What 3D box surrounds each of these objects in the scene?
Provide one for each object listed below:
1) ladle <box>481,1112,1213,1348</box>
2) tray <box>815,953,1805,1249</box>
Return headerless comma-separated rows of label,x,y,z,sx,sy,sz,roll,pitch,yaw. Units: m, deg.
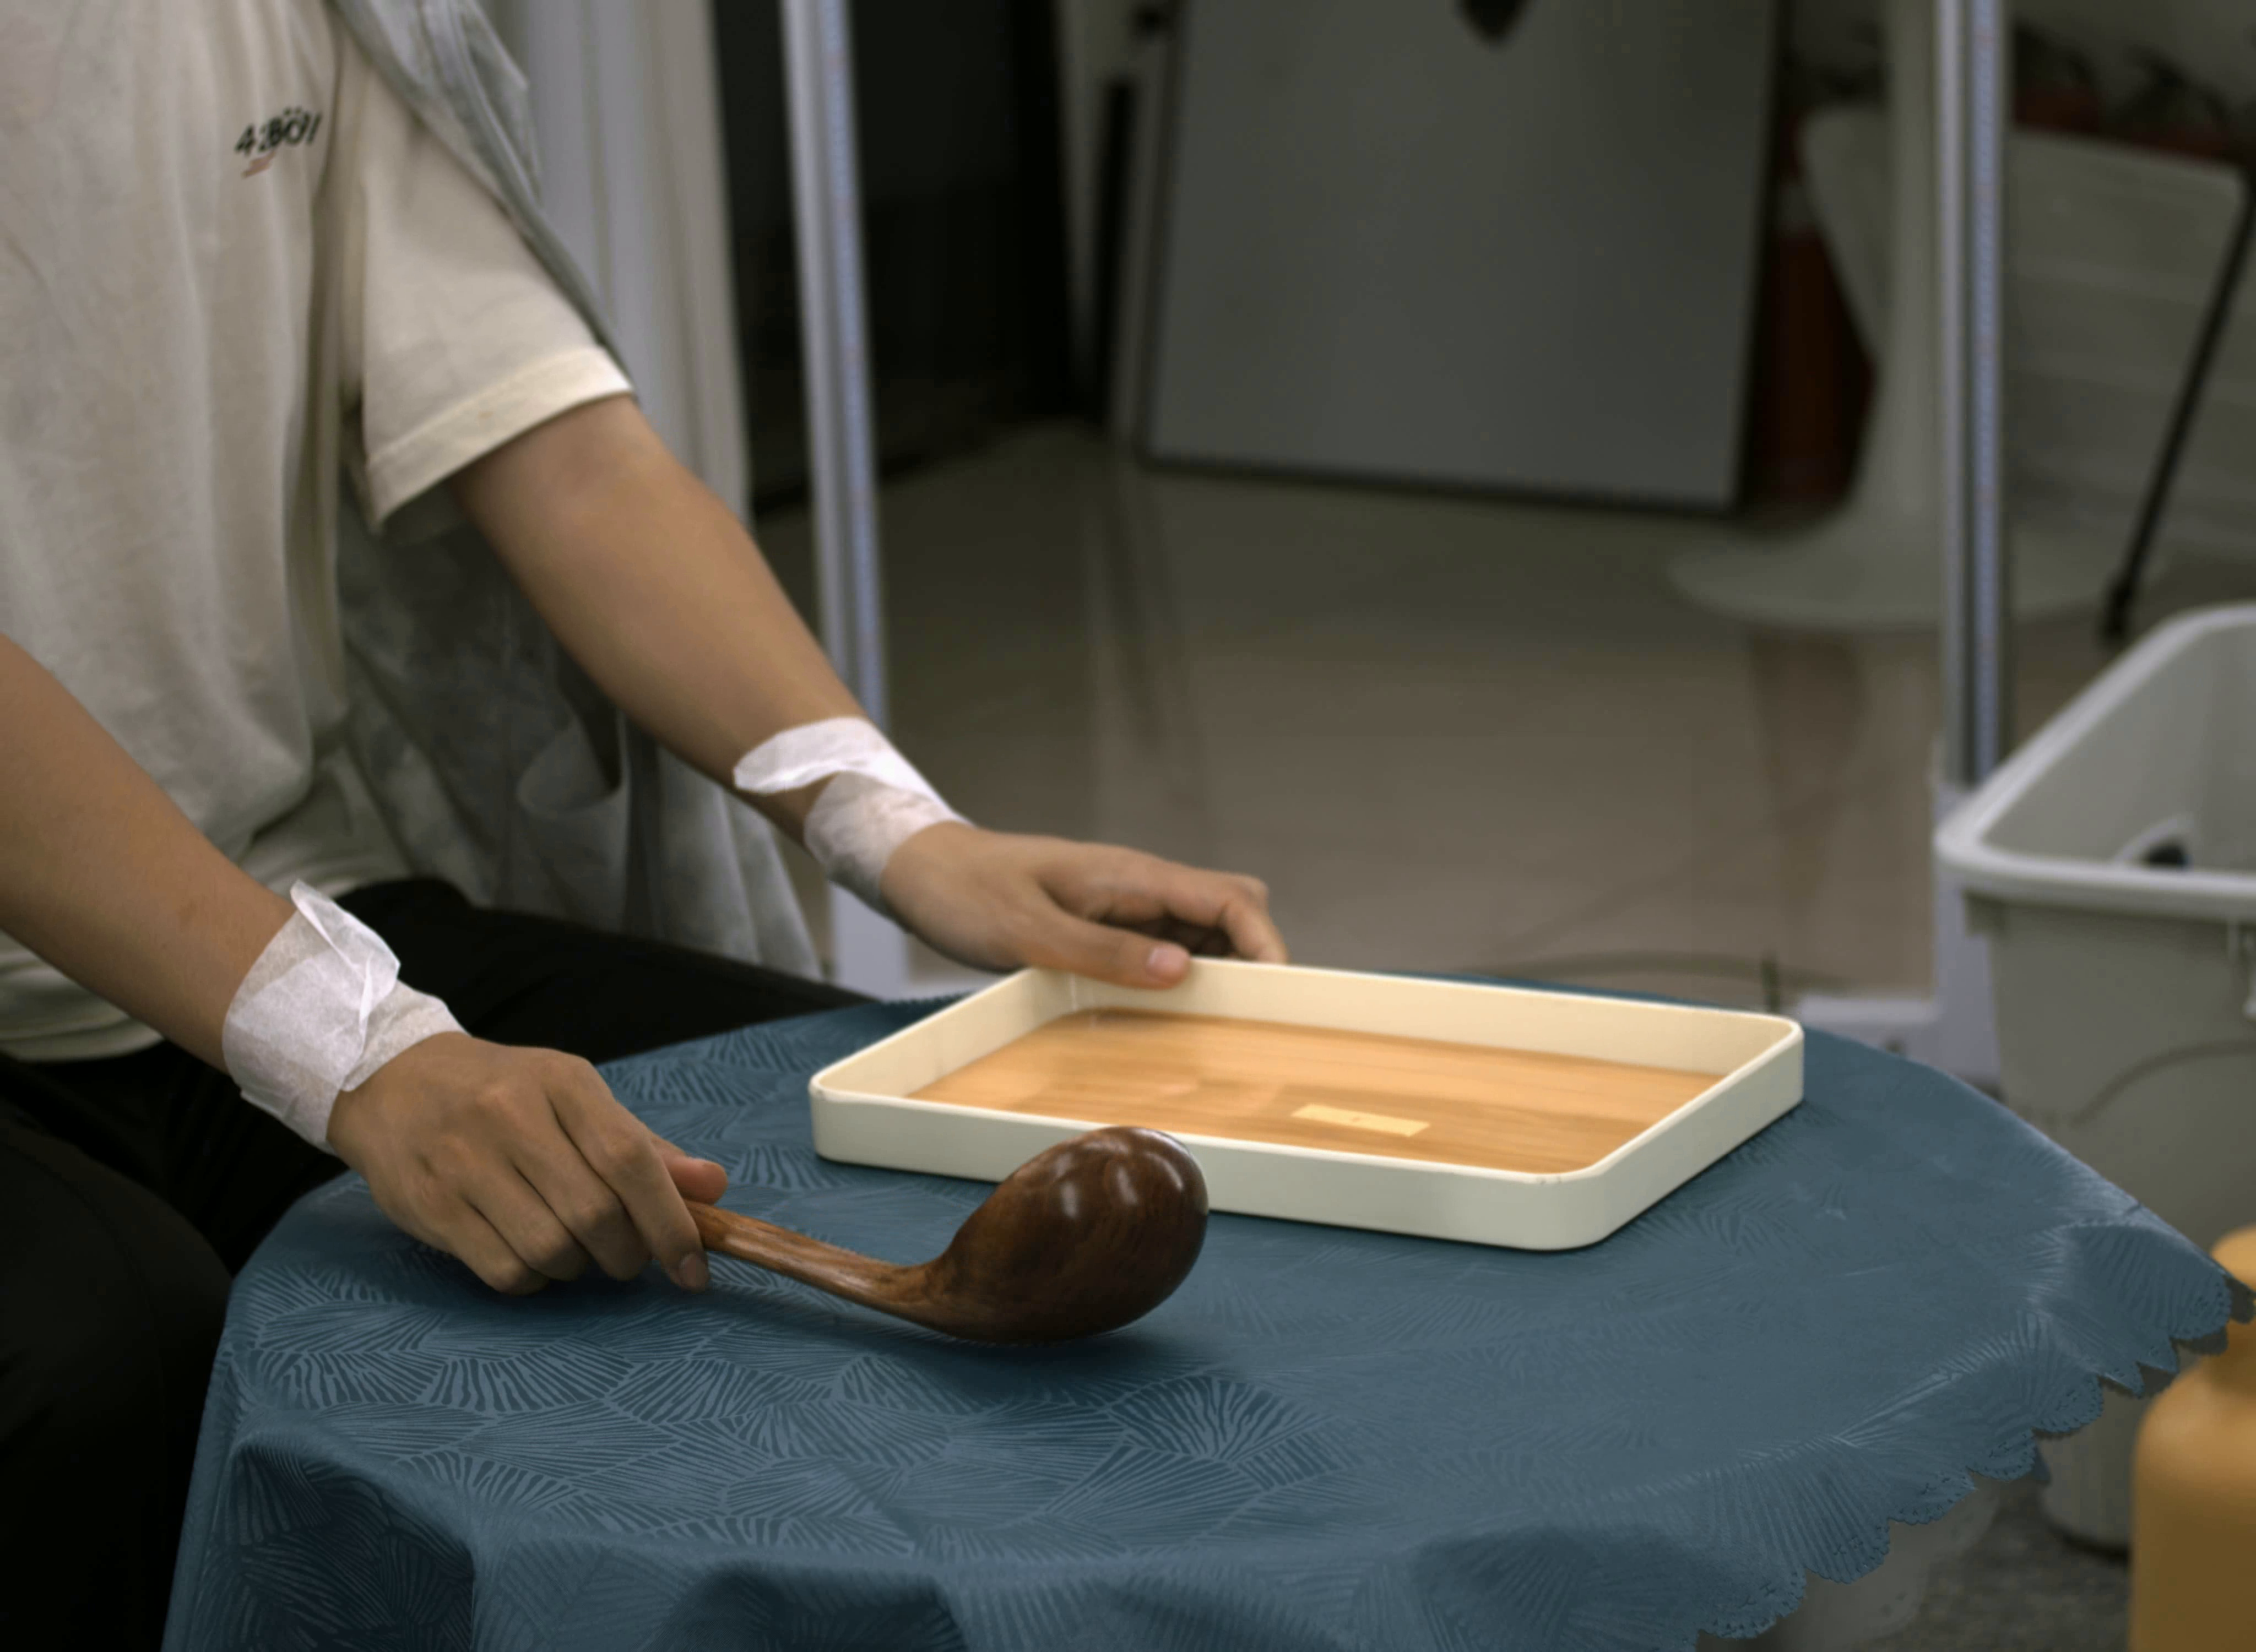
ladle,-0.093,0.111,1.683,0.276,0.077,0.081,8,-25,41
tray,0.062,0.090,1.826,0.302,0.028,0.188,5,16,32
